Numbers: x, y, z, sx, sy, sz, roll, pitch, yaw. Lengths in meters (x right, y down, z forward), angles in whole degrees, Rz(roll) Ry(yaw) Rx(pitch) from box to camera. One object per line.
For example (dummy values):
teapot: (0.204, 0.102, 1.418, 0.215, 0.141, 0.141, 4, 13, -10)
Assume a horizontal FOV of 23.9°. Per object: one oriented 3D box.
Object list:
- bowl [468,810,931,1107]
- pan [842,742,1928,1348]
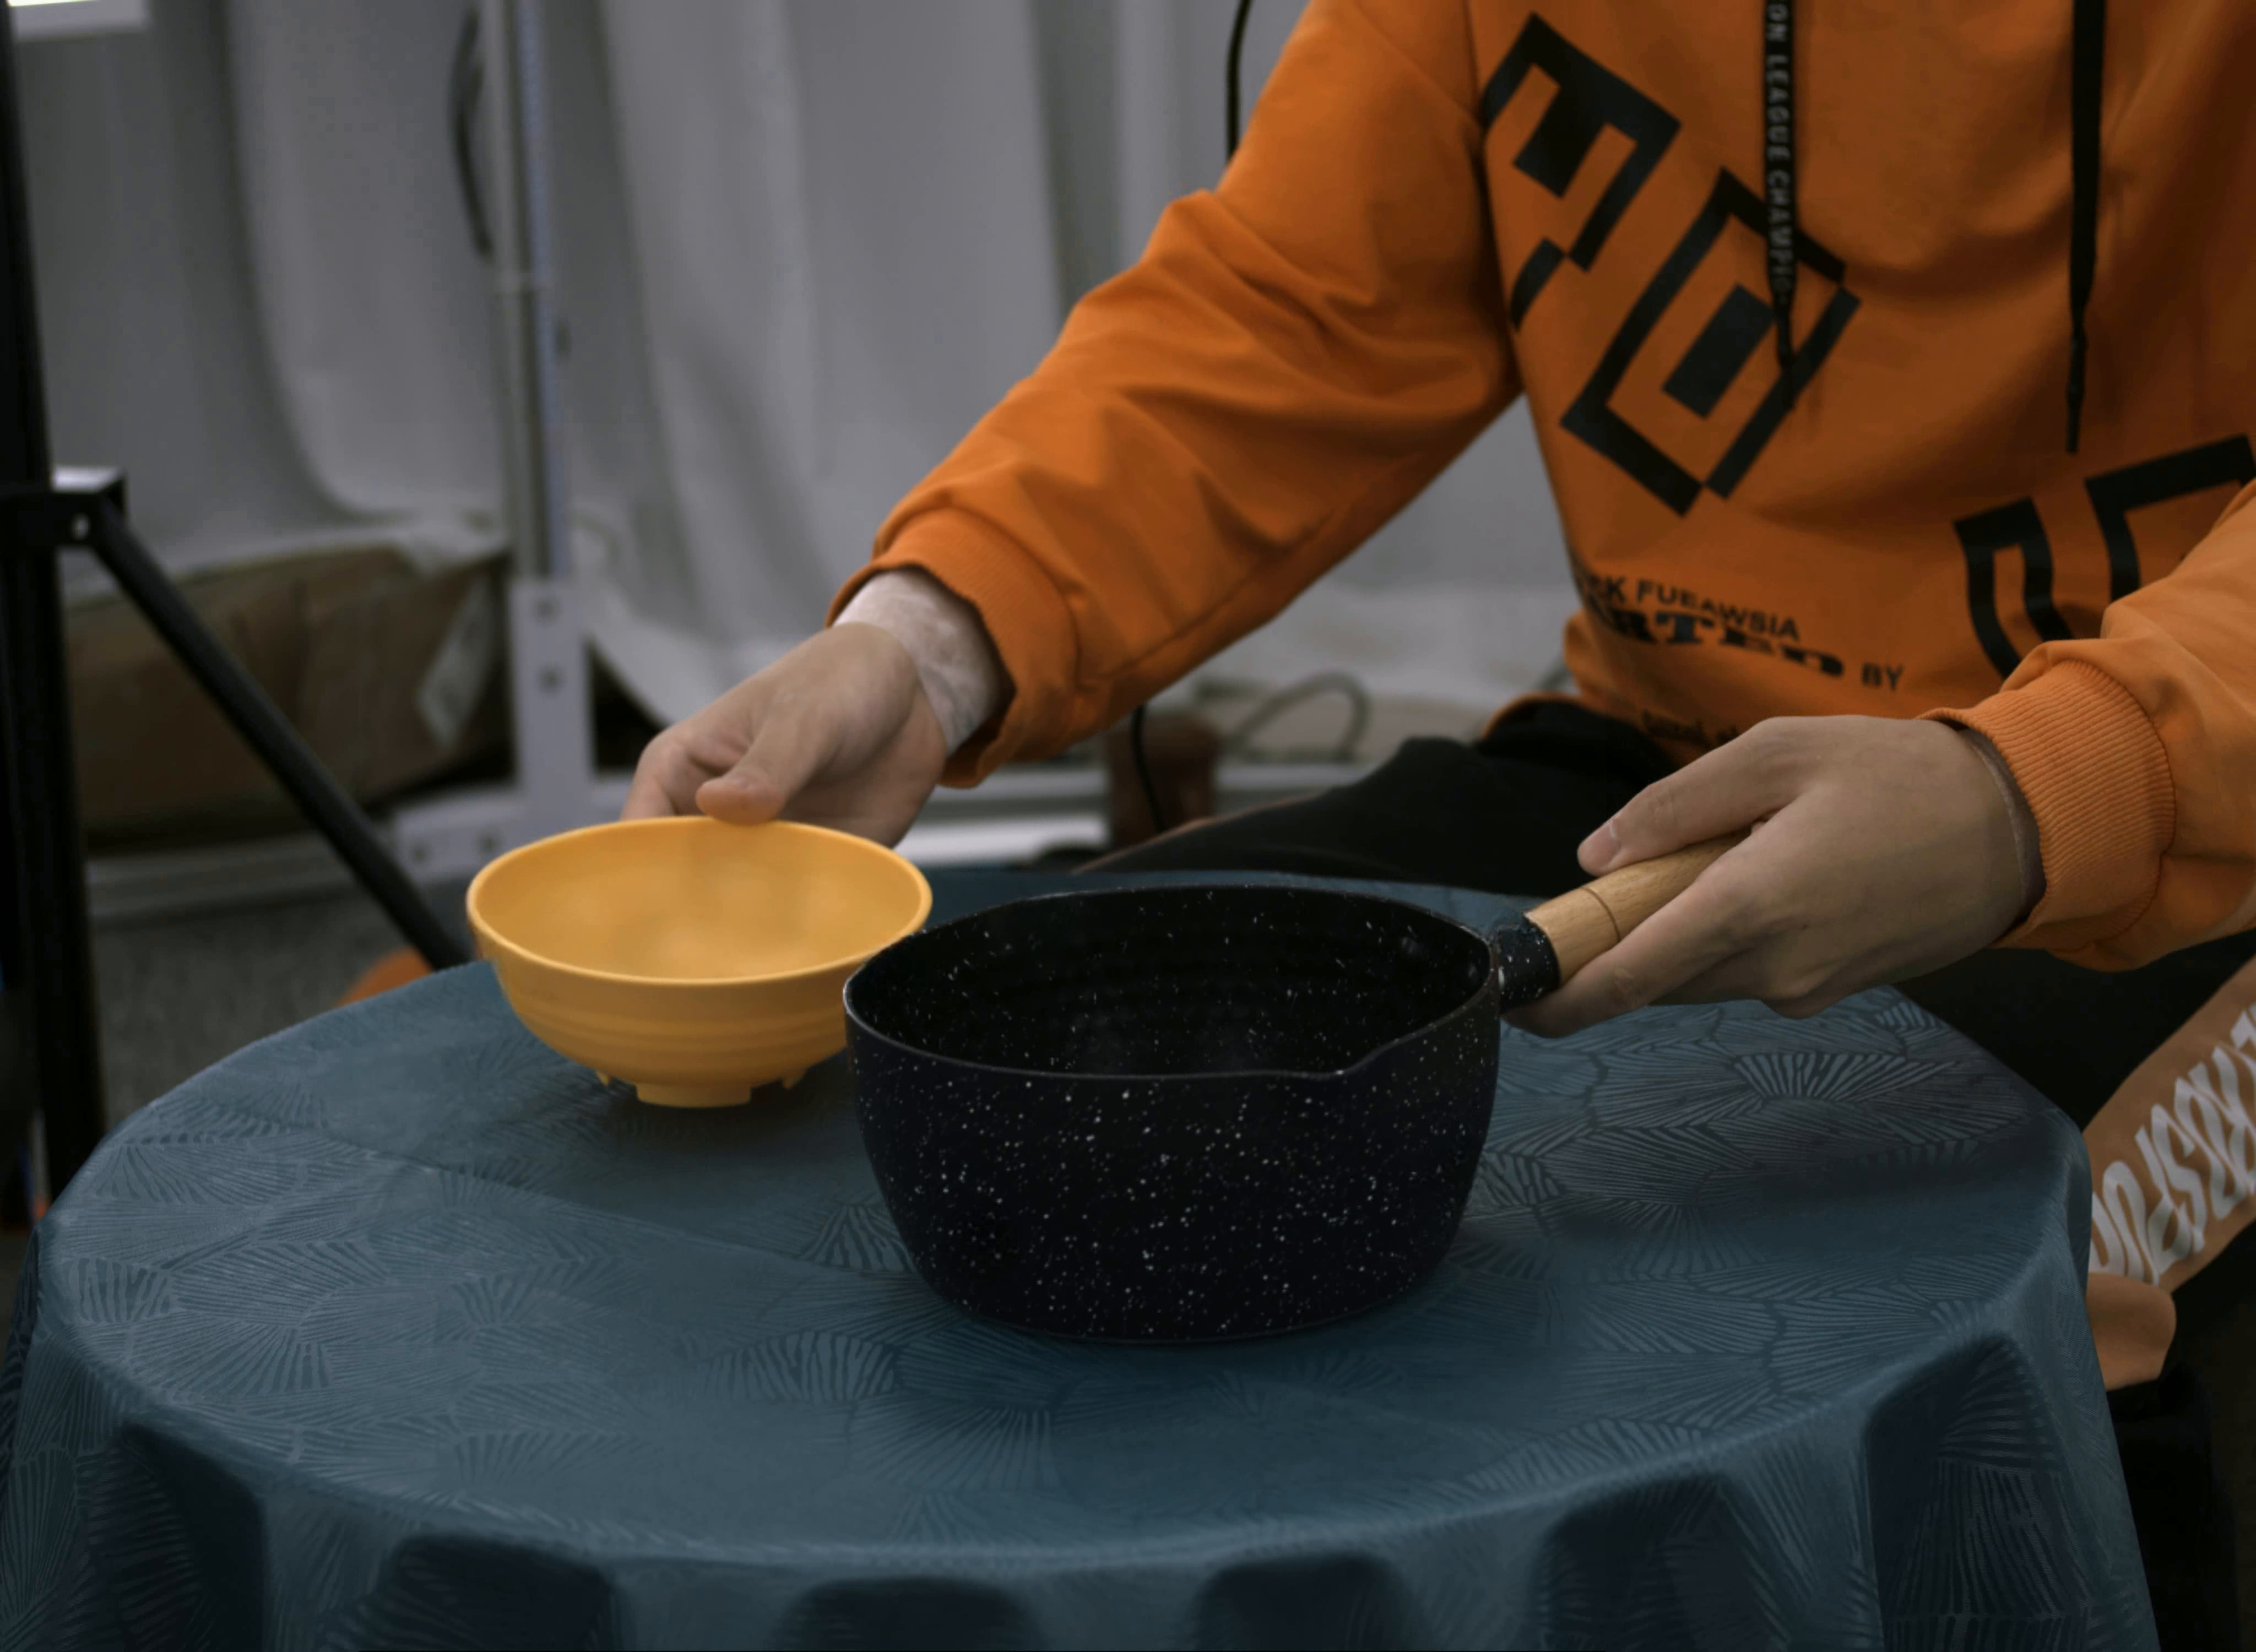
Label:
bowl: (-0.134, 0.047, 1.662, 0.144, 0.060, 0.146, 1, 20, -2)
pan: (0.084, 0.057, 1.521, 0.336, 0.108, 0.211, -12, 16, -24)
